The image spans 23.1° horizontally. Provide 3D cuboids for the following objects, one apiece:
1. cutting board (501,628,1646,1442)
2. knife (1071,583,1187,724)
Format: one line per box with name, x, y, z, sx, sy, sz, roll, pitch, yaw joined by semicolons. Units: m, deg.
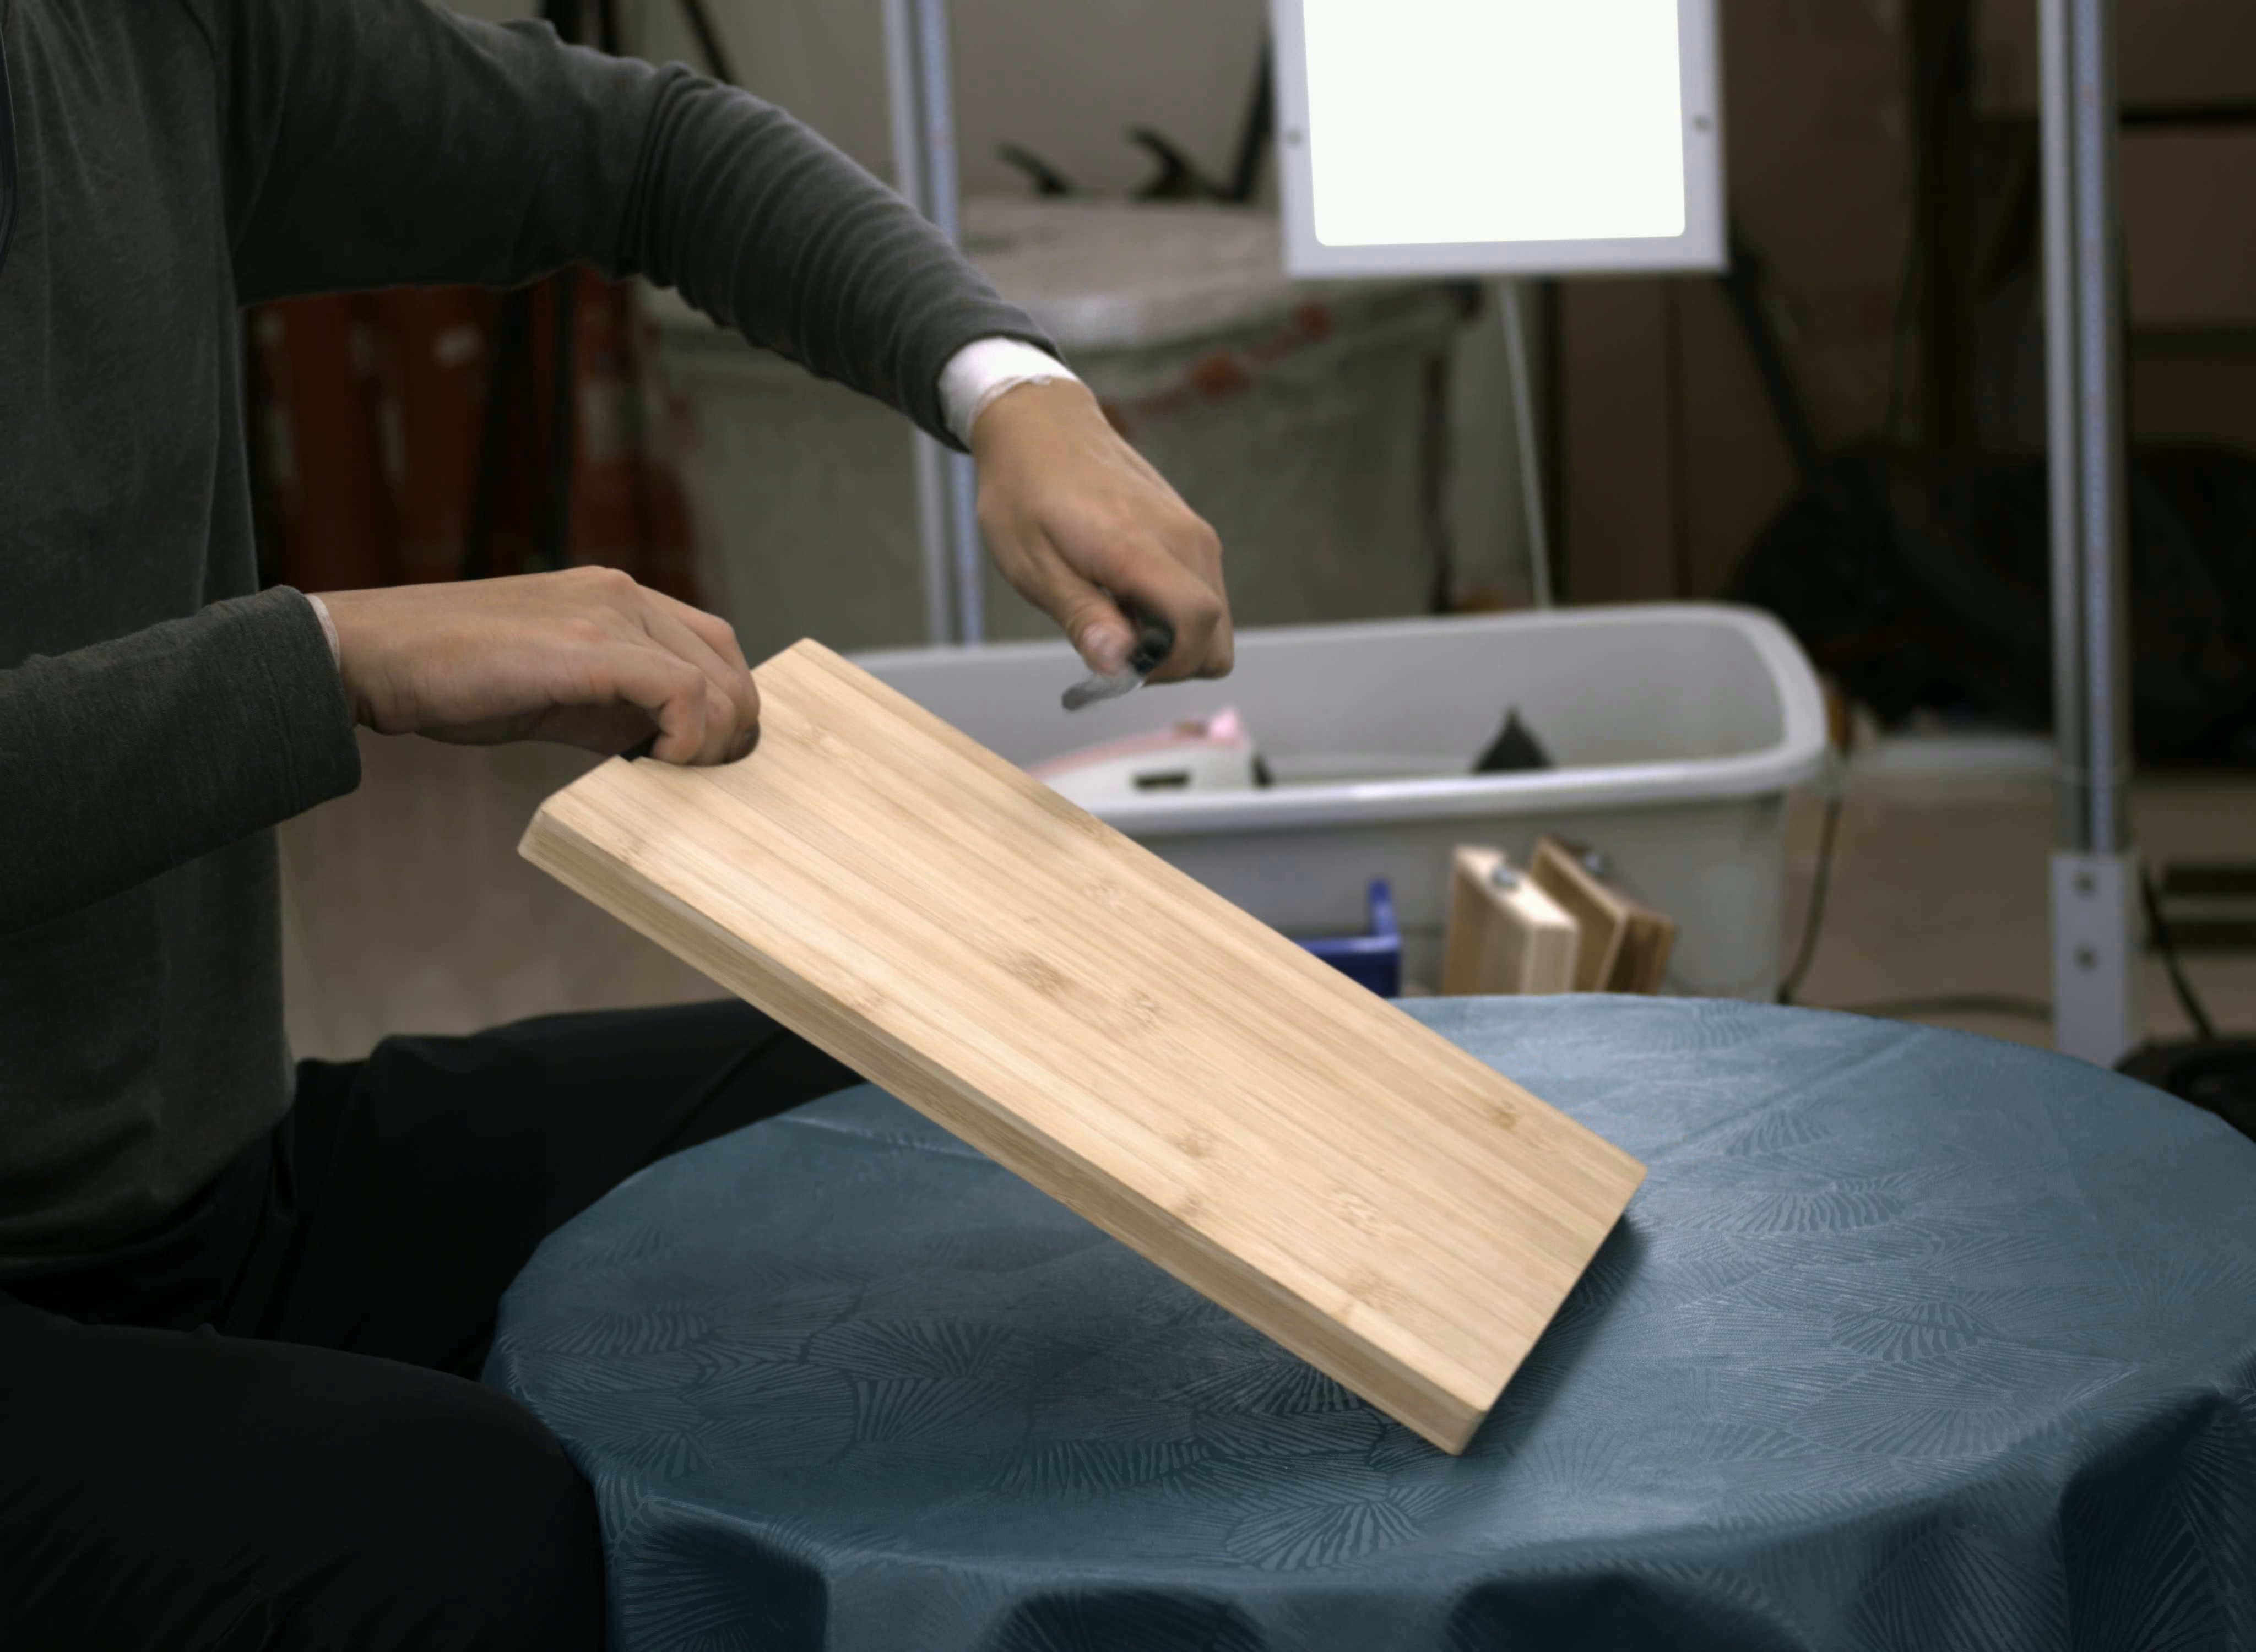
cutting board;-0.009;0.059;1.754;0.350;0.024;0.247;32;21;8
knife;-0.002;-0.060;1.922;0.024;0.016;0.236;38;14;-1
